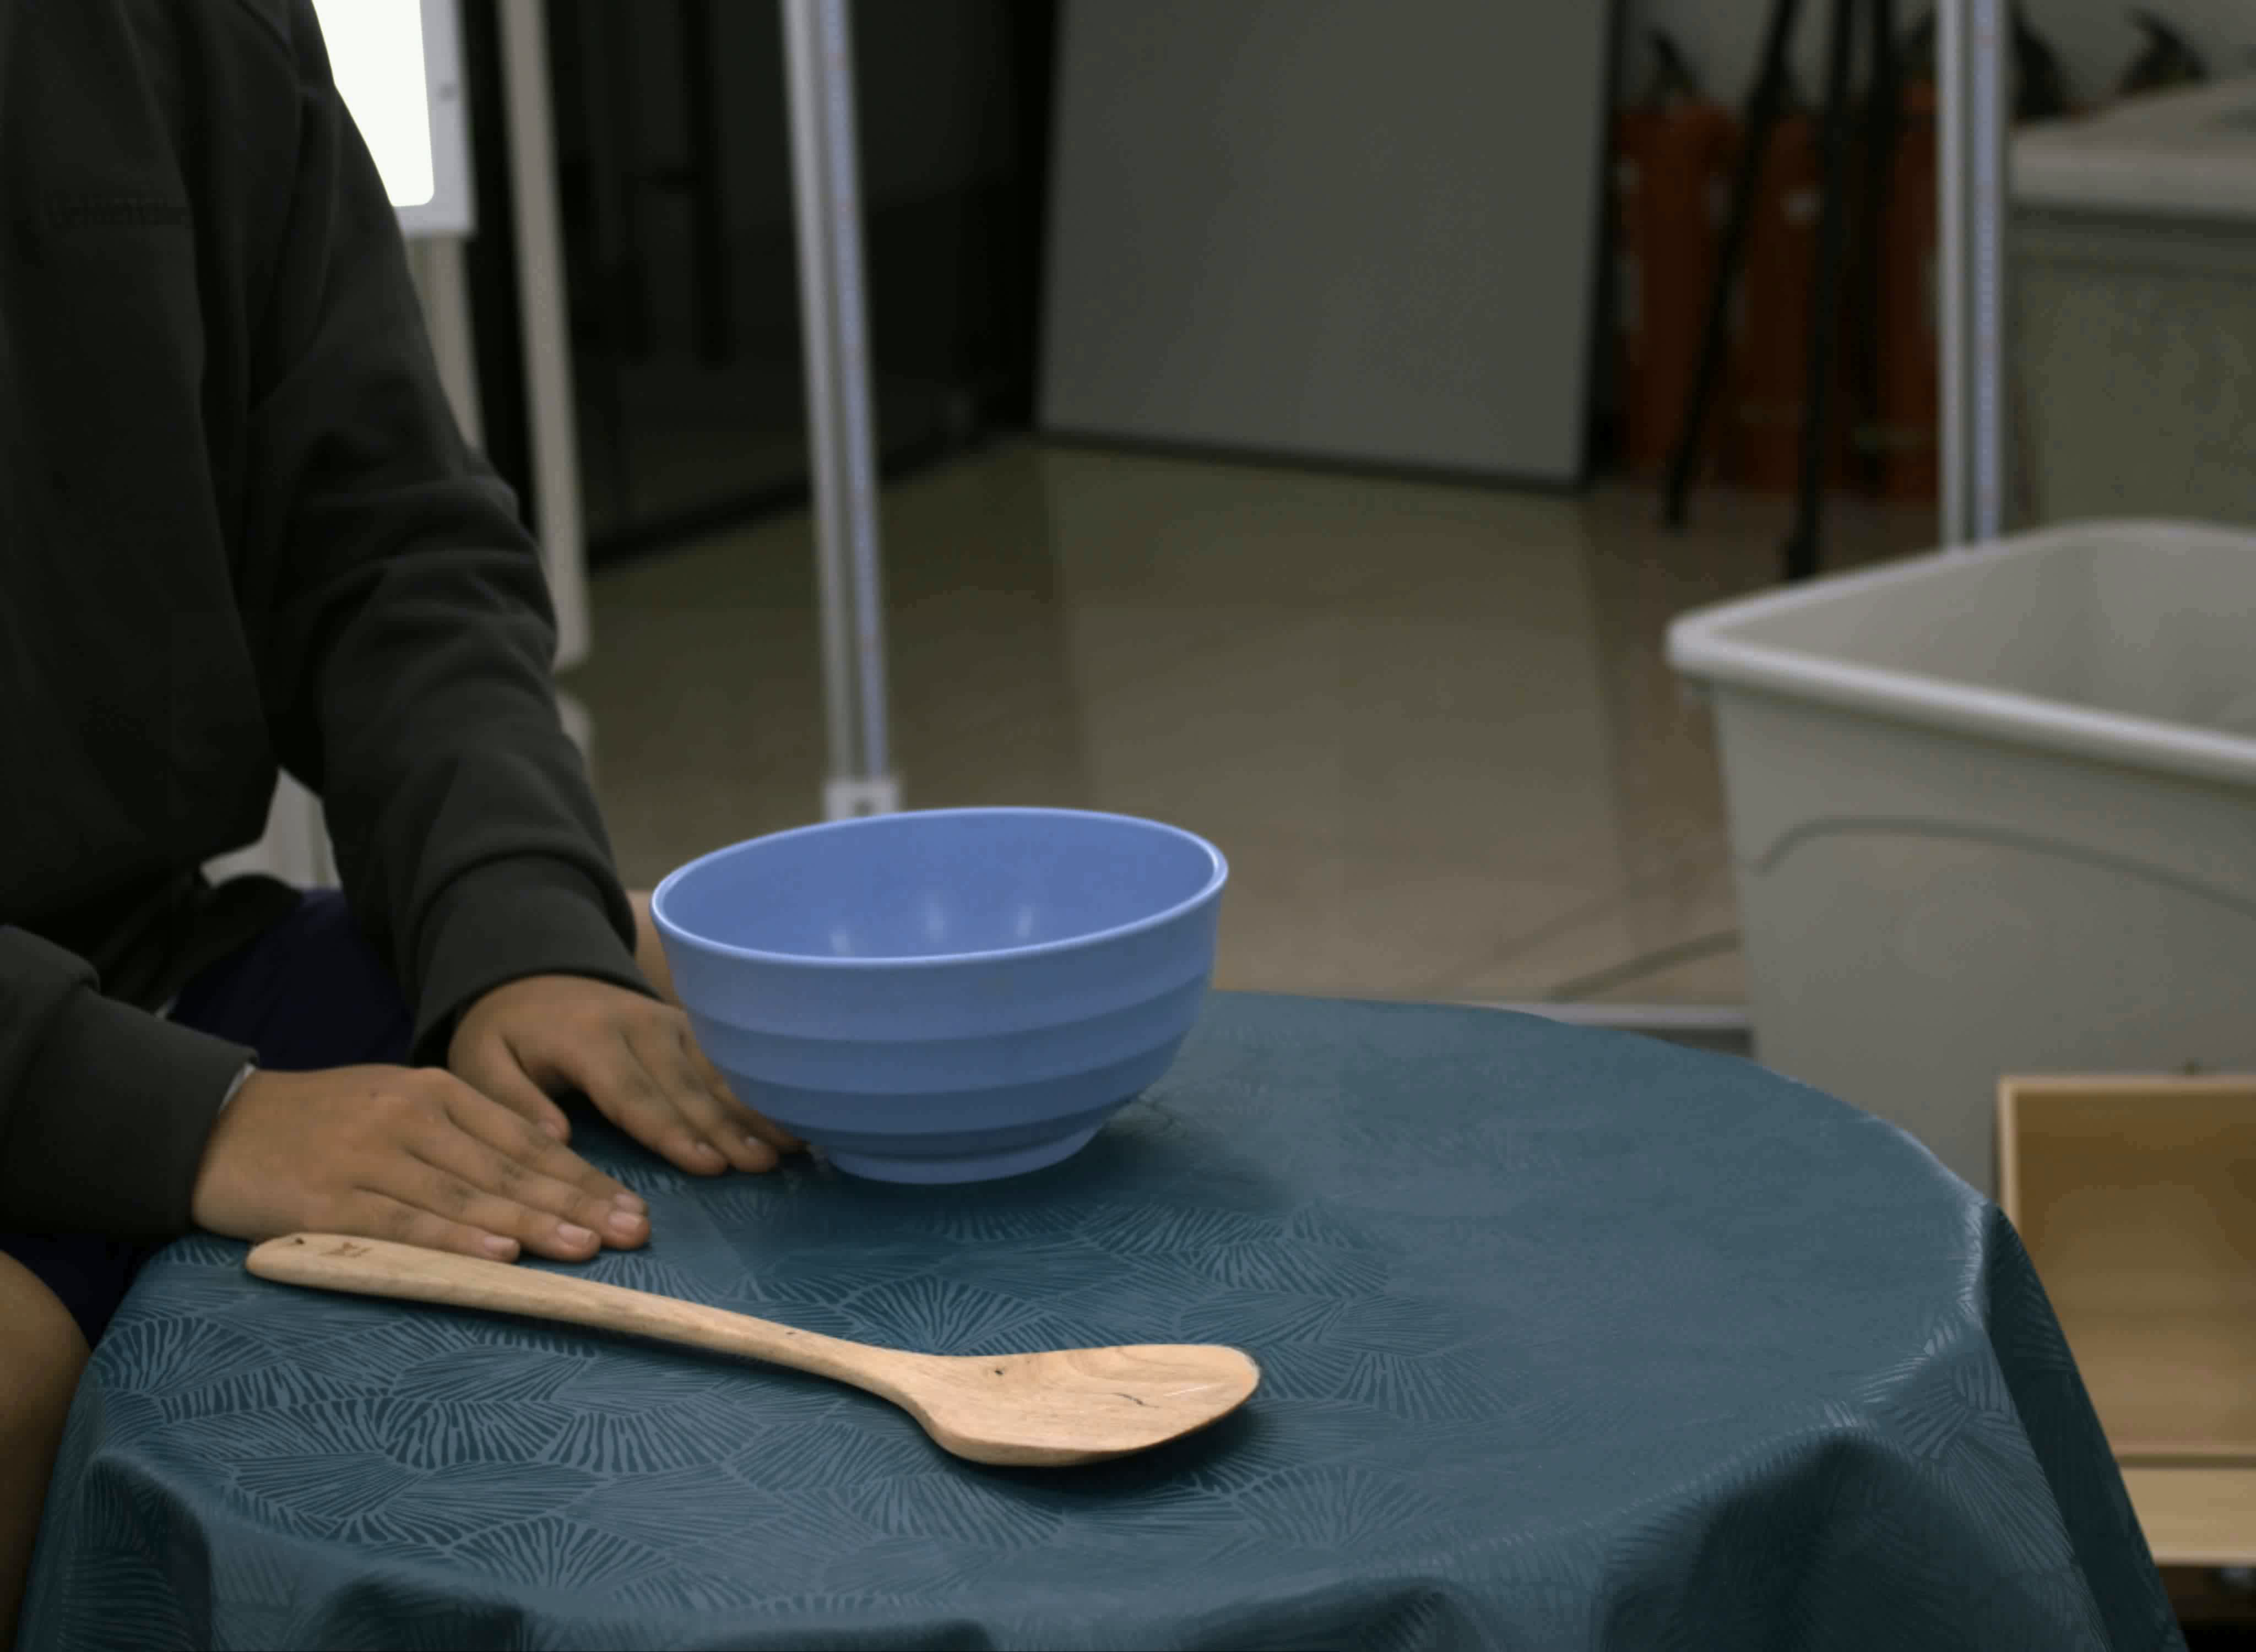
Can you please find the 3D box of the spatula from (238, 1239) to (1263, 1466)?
[{"bbox_3d":[-0.131,0.154,1.633,0.393,0.018,0.094,7,15,37],"label":"spatula"}]

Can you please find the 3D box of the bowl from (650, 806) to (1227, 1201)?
[{"bbox_3d":[-0.060,0.066,1.823,0.194,0.096,0.197,-4,16,0],"label":"bowl"}]
